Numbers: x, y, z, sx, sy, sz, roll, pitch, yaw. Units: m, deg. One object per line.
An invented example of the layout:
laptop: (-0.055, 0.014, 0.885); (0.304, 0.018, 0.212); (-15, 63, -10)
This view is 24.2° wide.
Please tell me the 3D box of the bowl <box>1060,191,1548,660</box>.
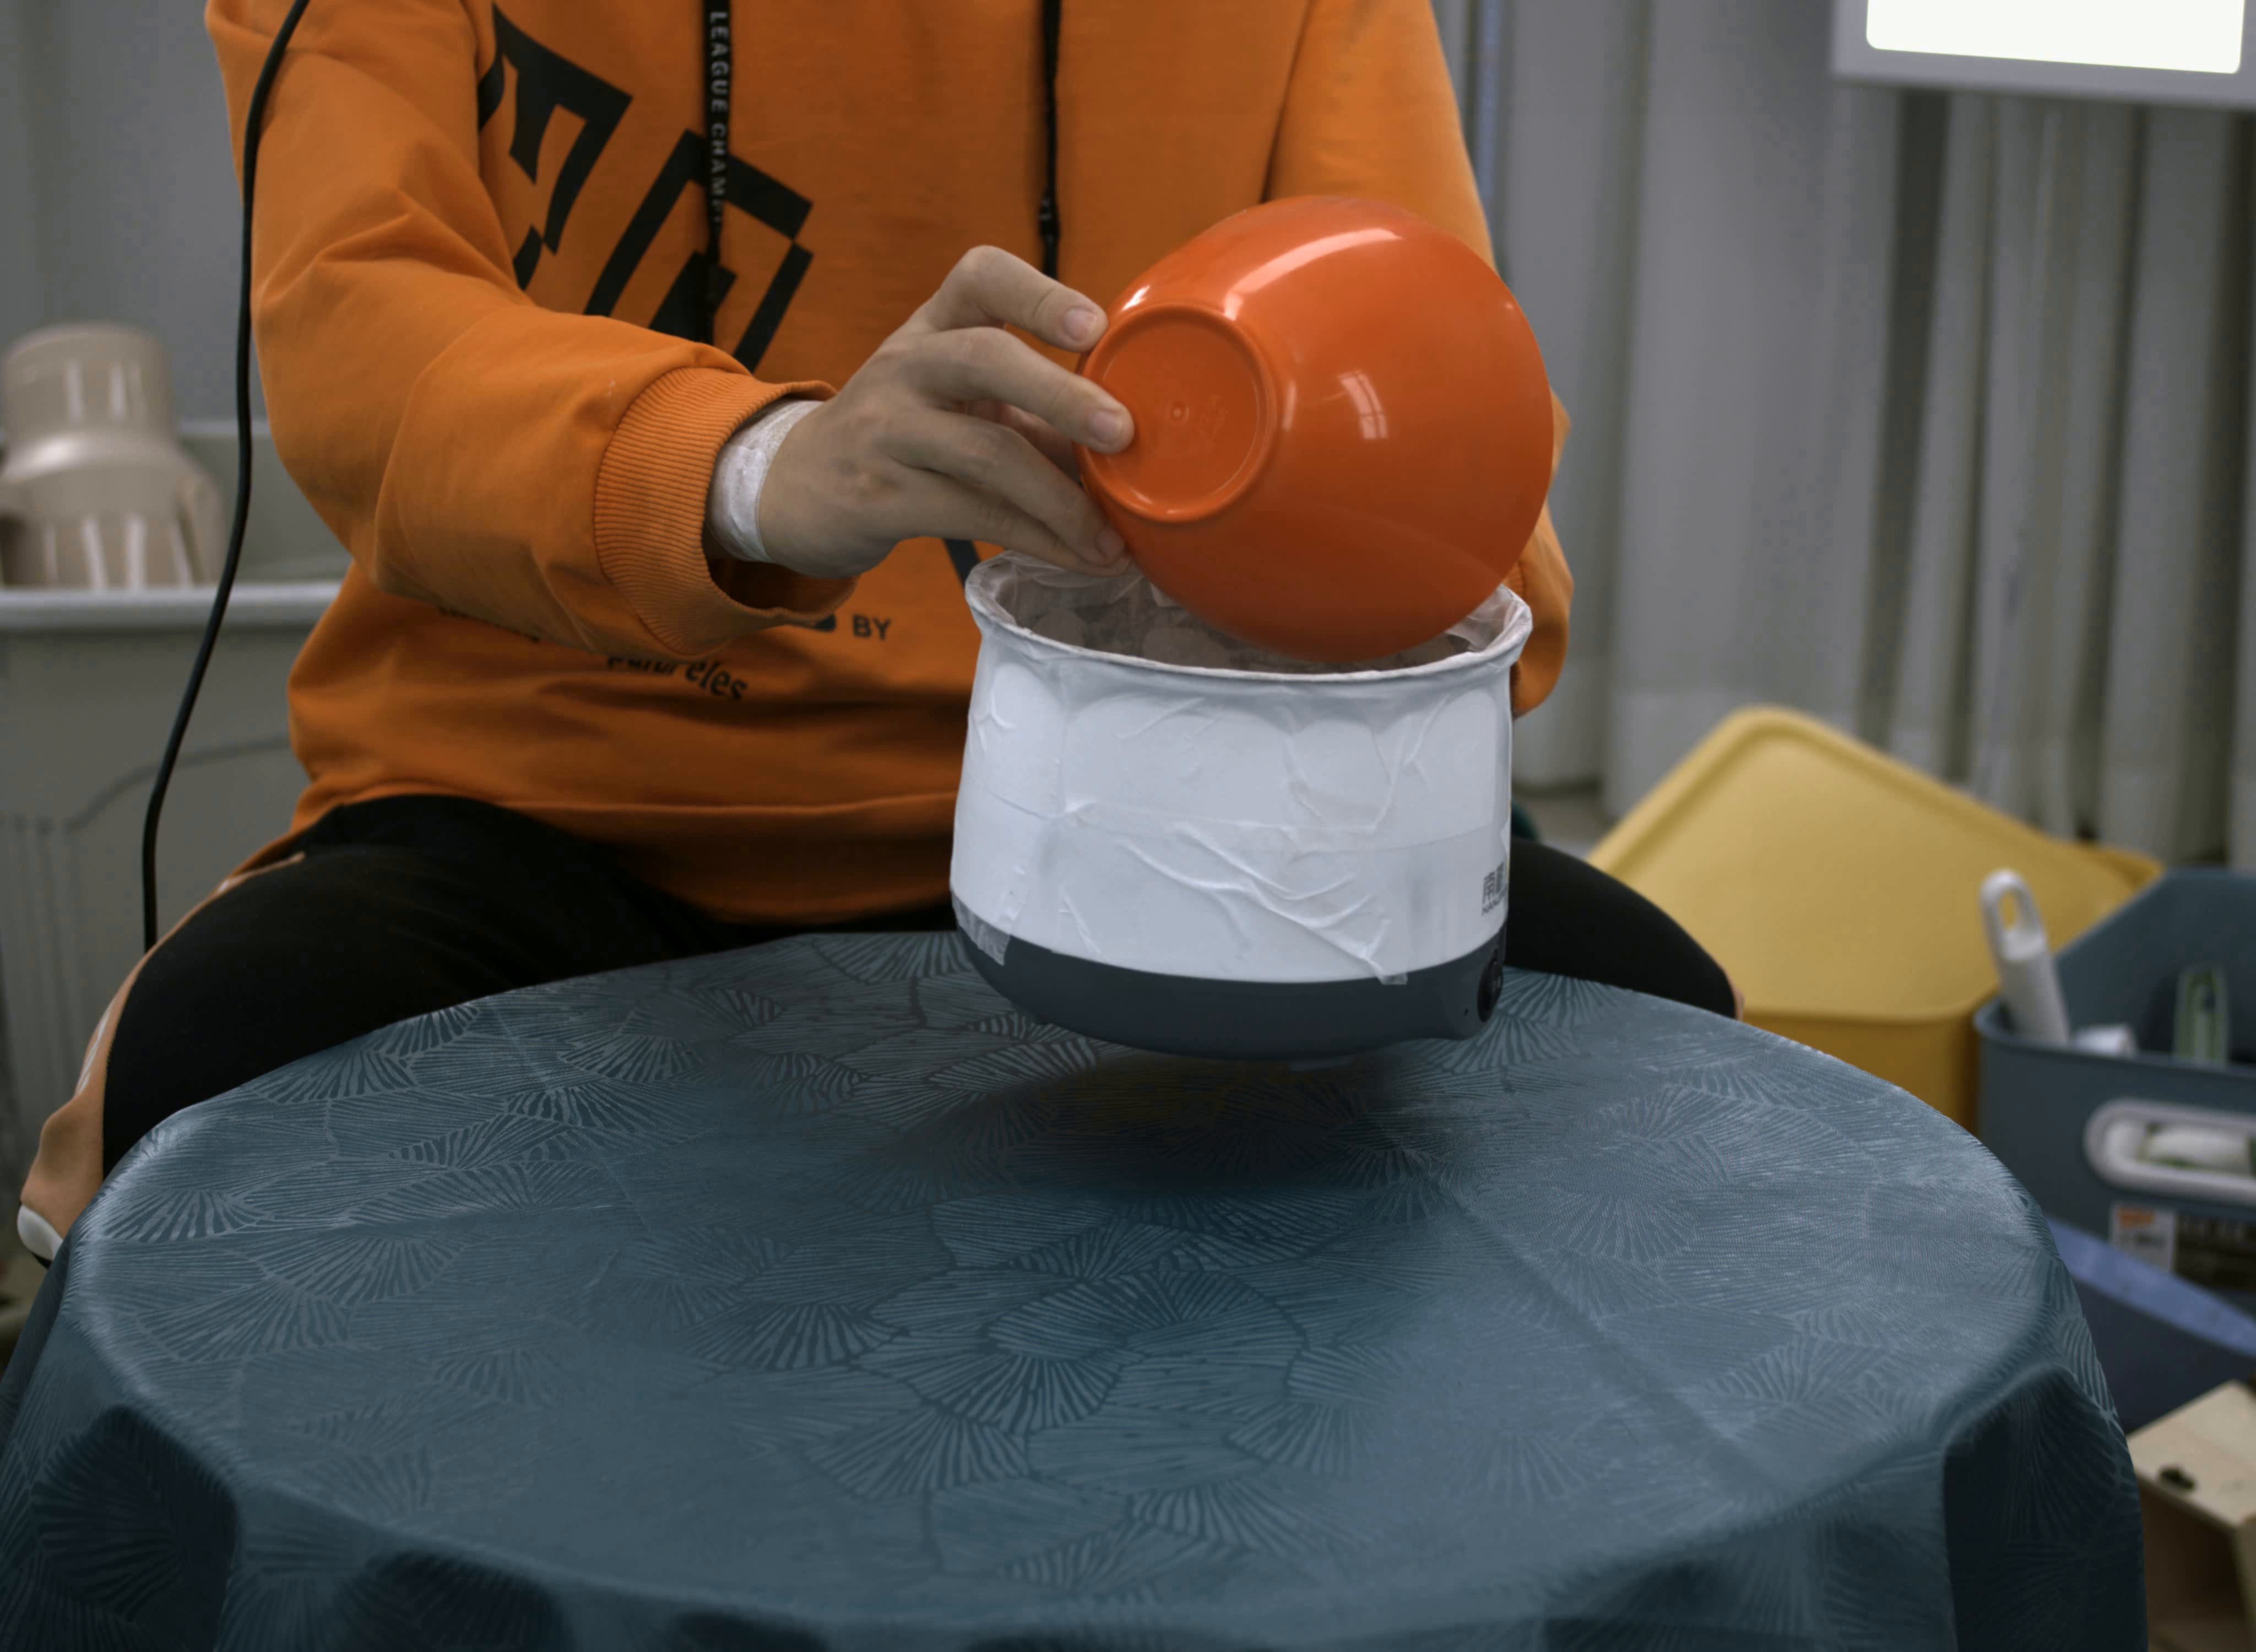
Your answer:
bowl: (0.043, -0.123, 1.619); (0.146, 0.149, 0.105); (8, 7, 23)

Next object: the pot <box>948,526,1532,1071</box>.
pot: (0.042, -0.018, 1.679); (0.177, 0.138, 0.233); (9, 19, 16)
